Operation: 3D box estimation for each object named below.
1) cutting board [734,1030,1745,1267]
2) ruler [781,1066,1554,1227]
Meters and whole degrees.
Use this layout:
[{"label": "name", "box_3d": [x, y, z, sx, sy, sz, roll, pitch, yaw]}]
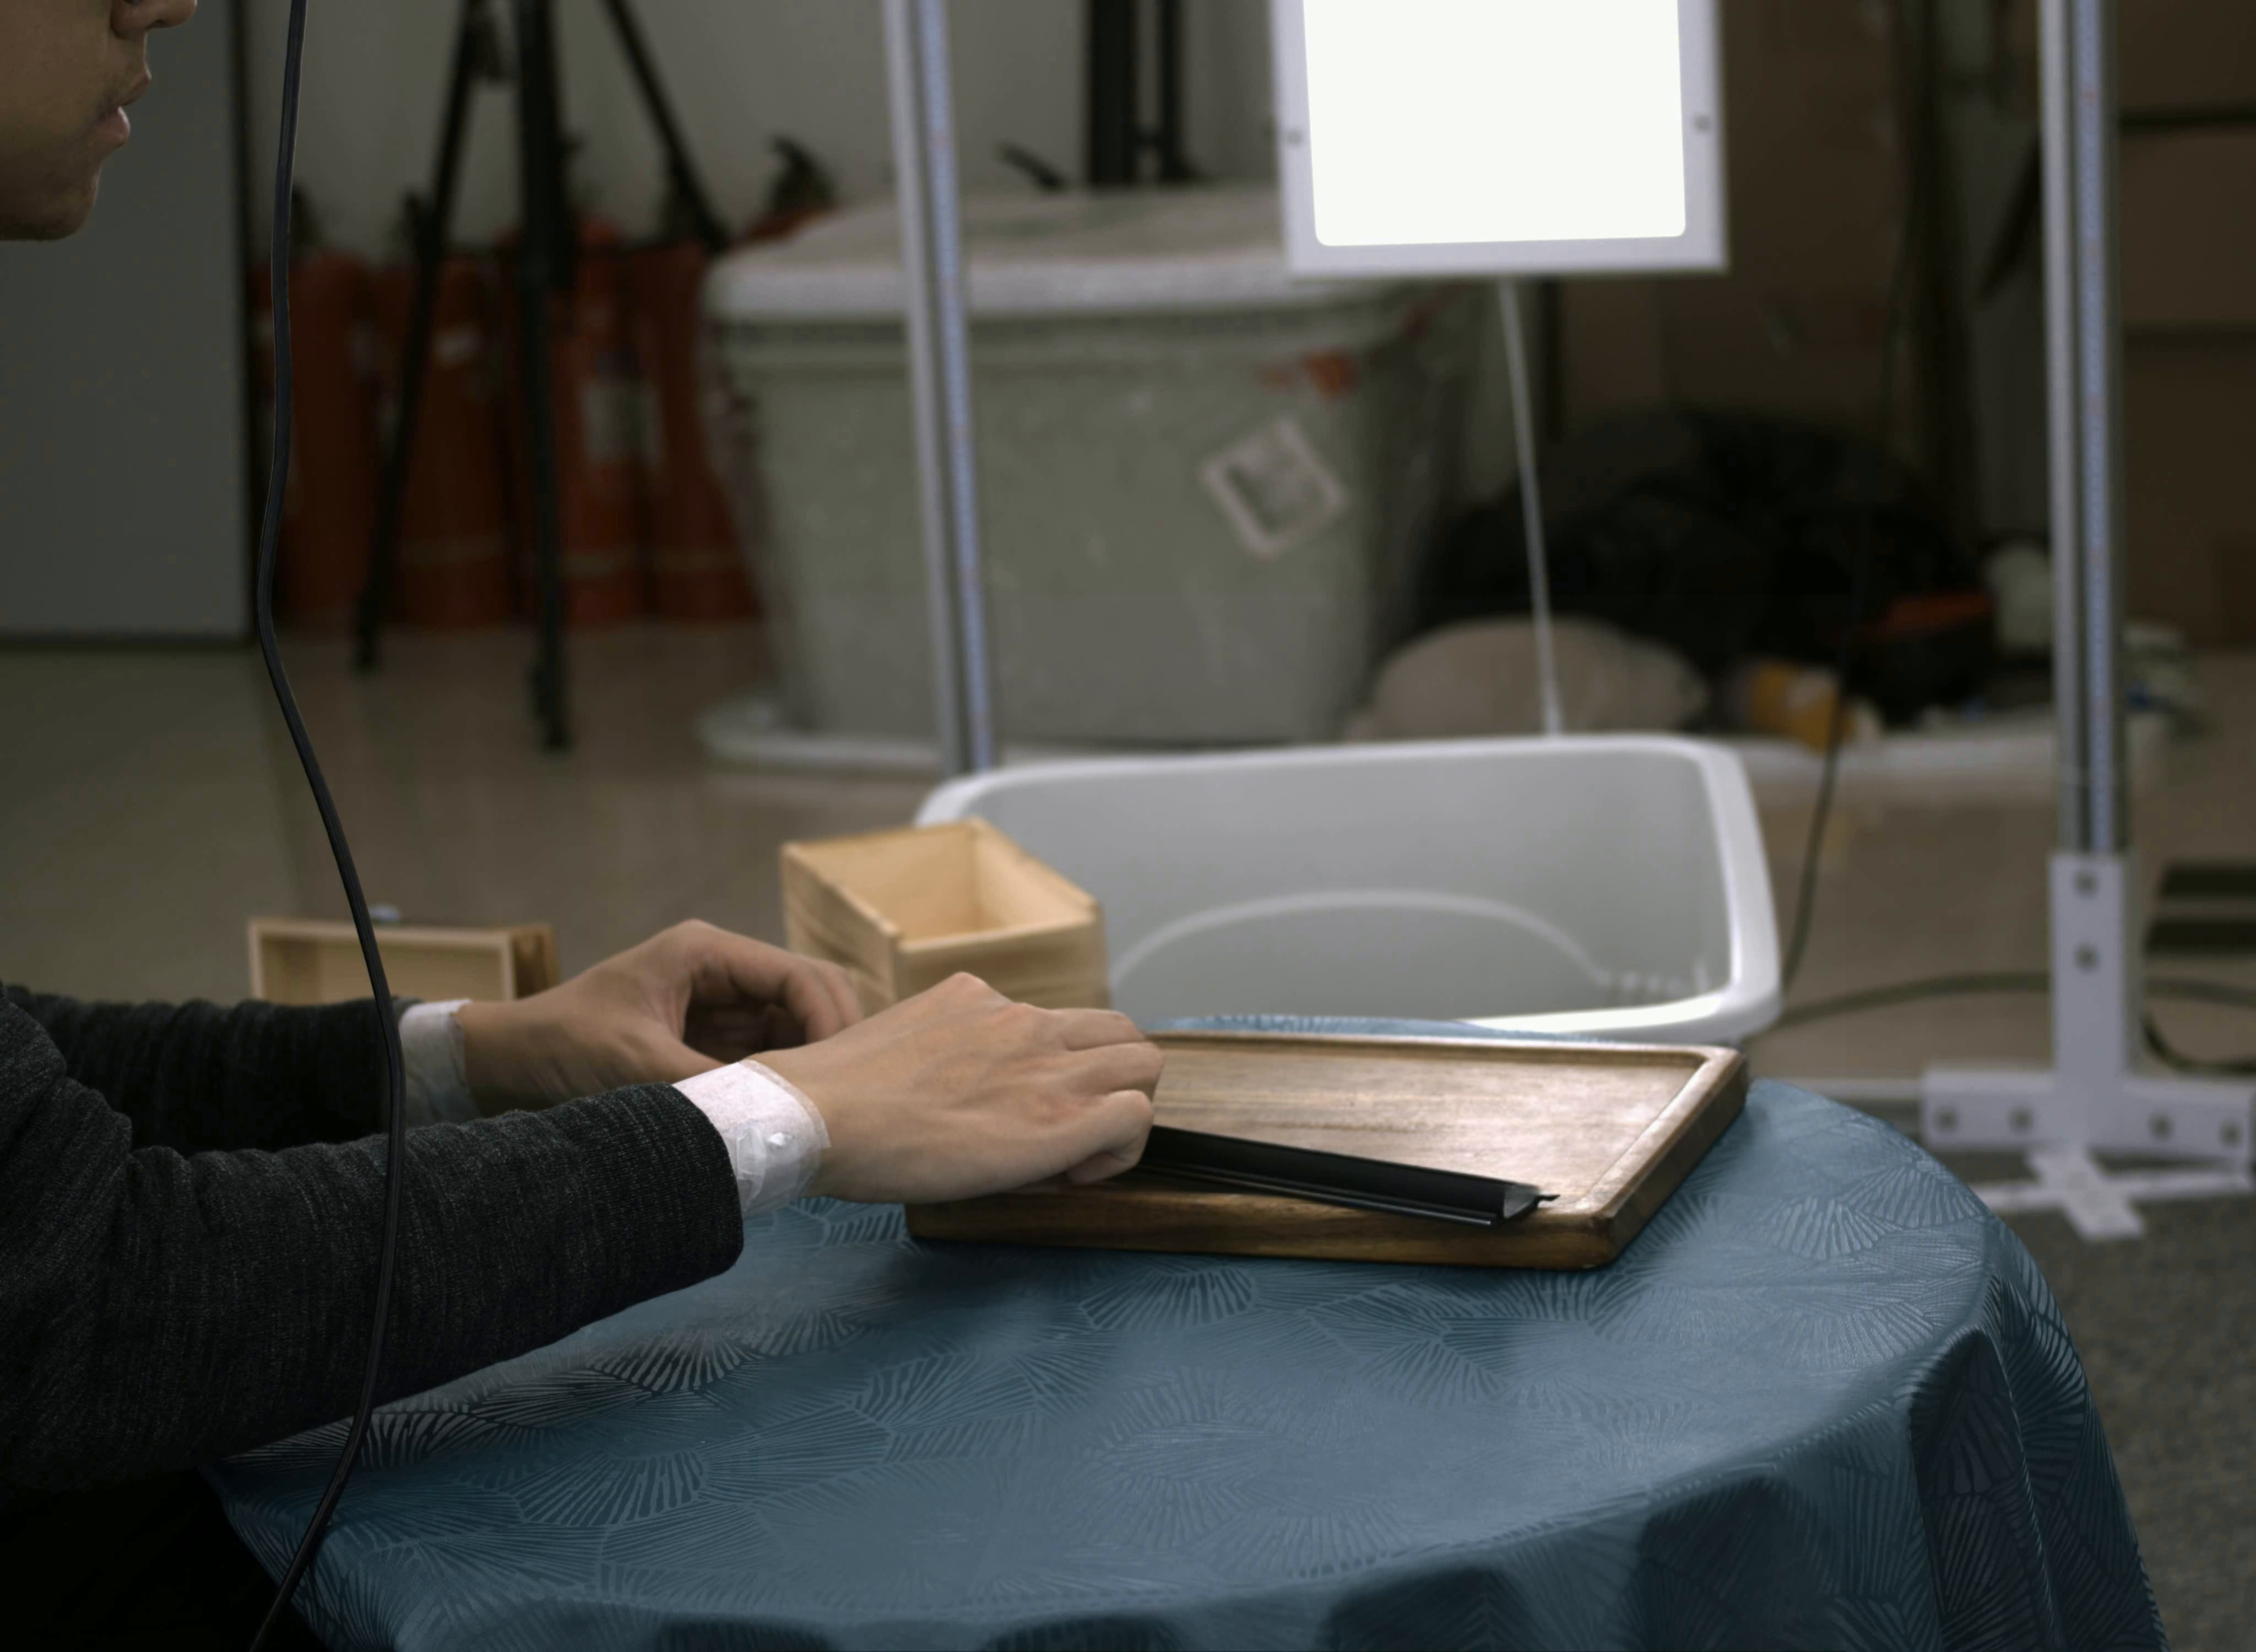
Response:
[{"label": "cutting board", "box_3d": [0.025, 0.108, 1.921, 0.357, 0.023, 0.197, 0, 15, 23]}, {"label": "ruler", "box_3d": [0.008, 0.104, 1.873, 0.319, 0.017, 0.038, 6, 16, 40]}]
